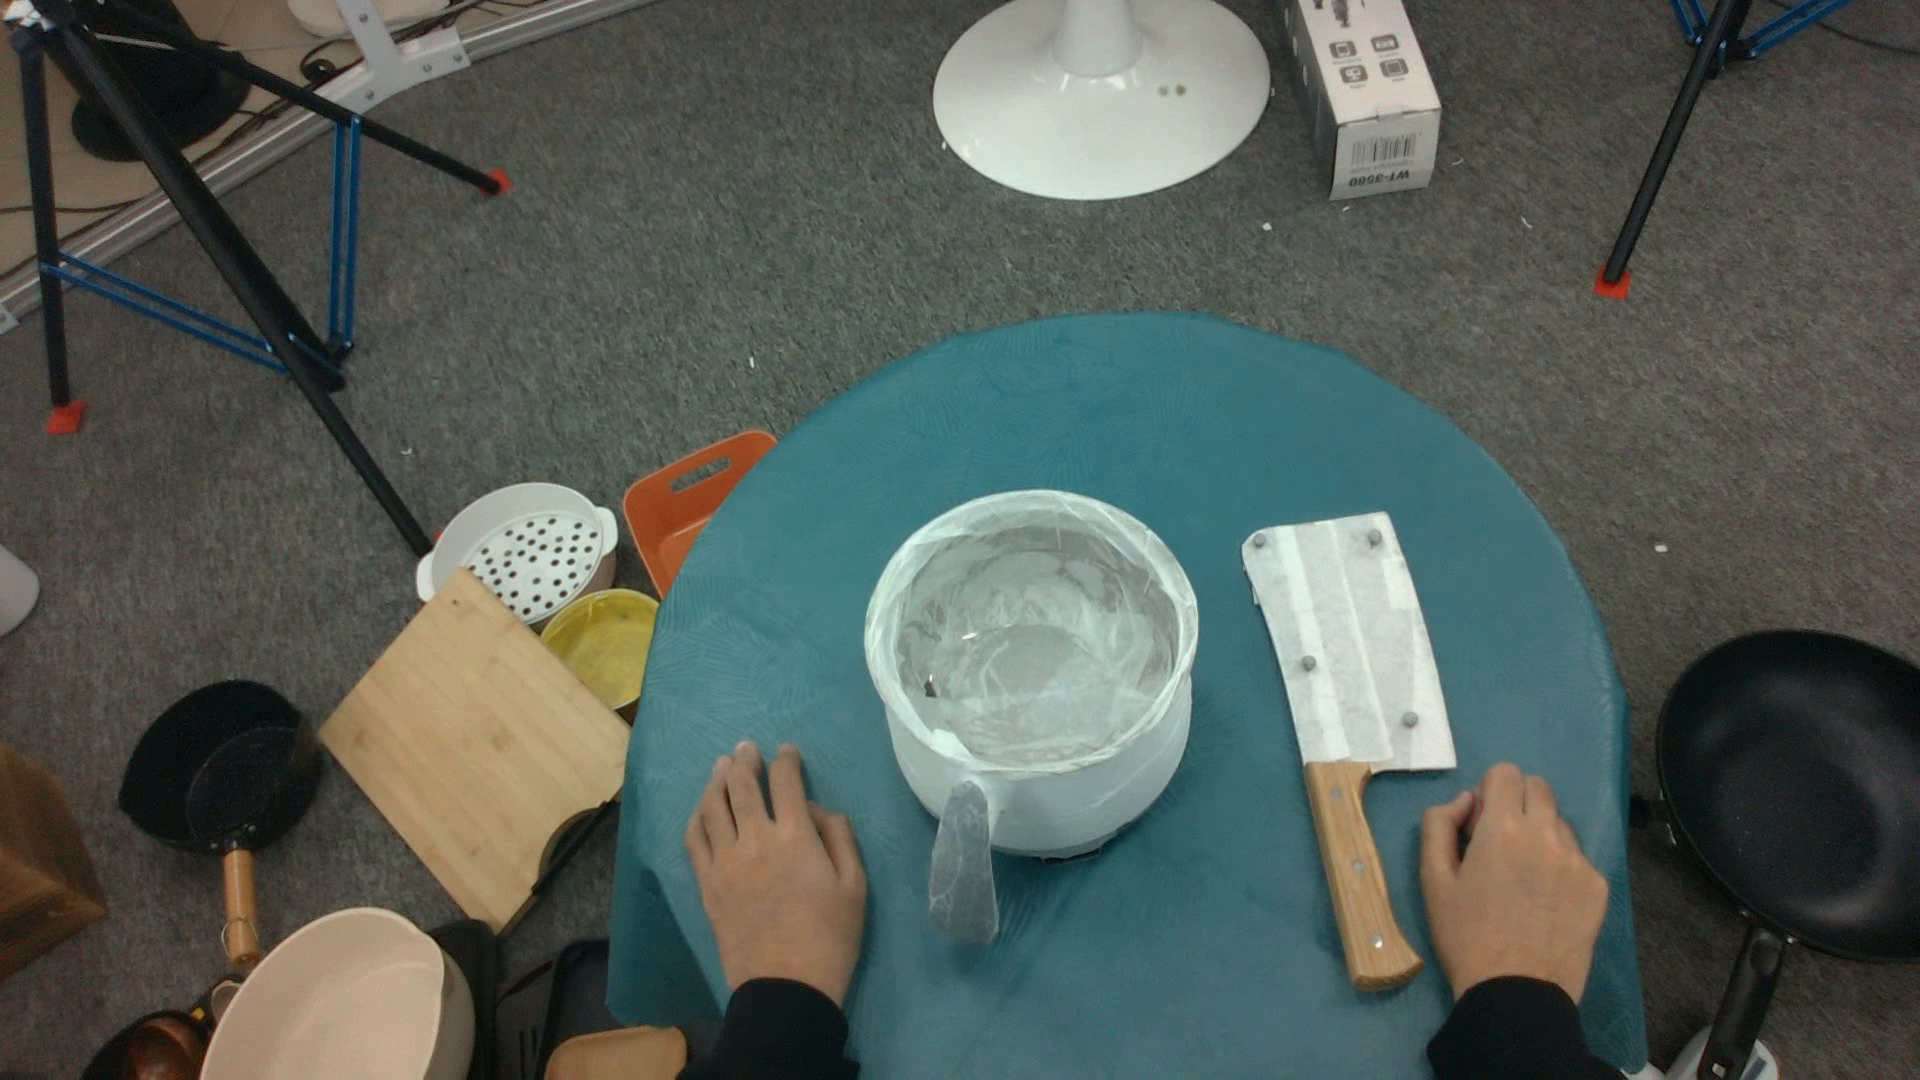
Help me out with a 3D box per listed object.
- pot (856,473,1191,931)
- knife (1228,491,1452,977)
[{"bbox_3d":[0.031,0.092,0.764,0.178,0.136,0.235,11,58,14],"label":"pot"},{"bbox_3d":[0.227,0.098,0.810,0.114,0.021,0.317,-2,53,5],"label":"knife"}]
